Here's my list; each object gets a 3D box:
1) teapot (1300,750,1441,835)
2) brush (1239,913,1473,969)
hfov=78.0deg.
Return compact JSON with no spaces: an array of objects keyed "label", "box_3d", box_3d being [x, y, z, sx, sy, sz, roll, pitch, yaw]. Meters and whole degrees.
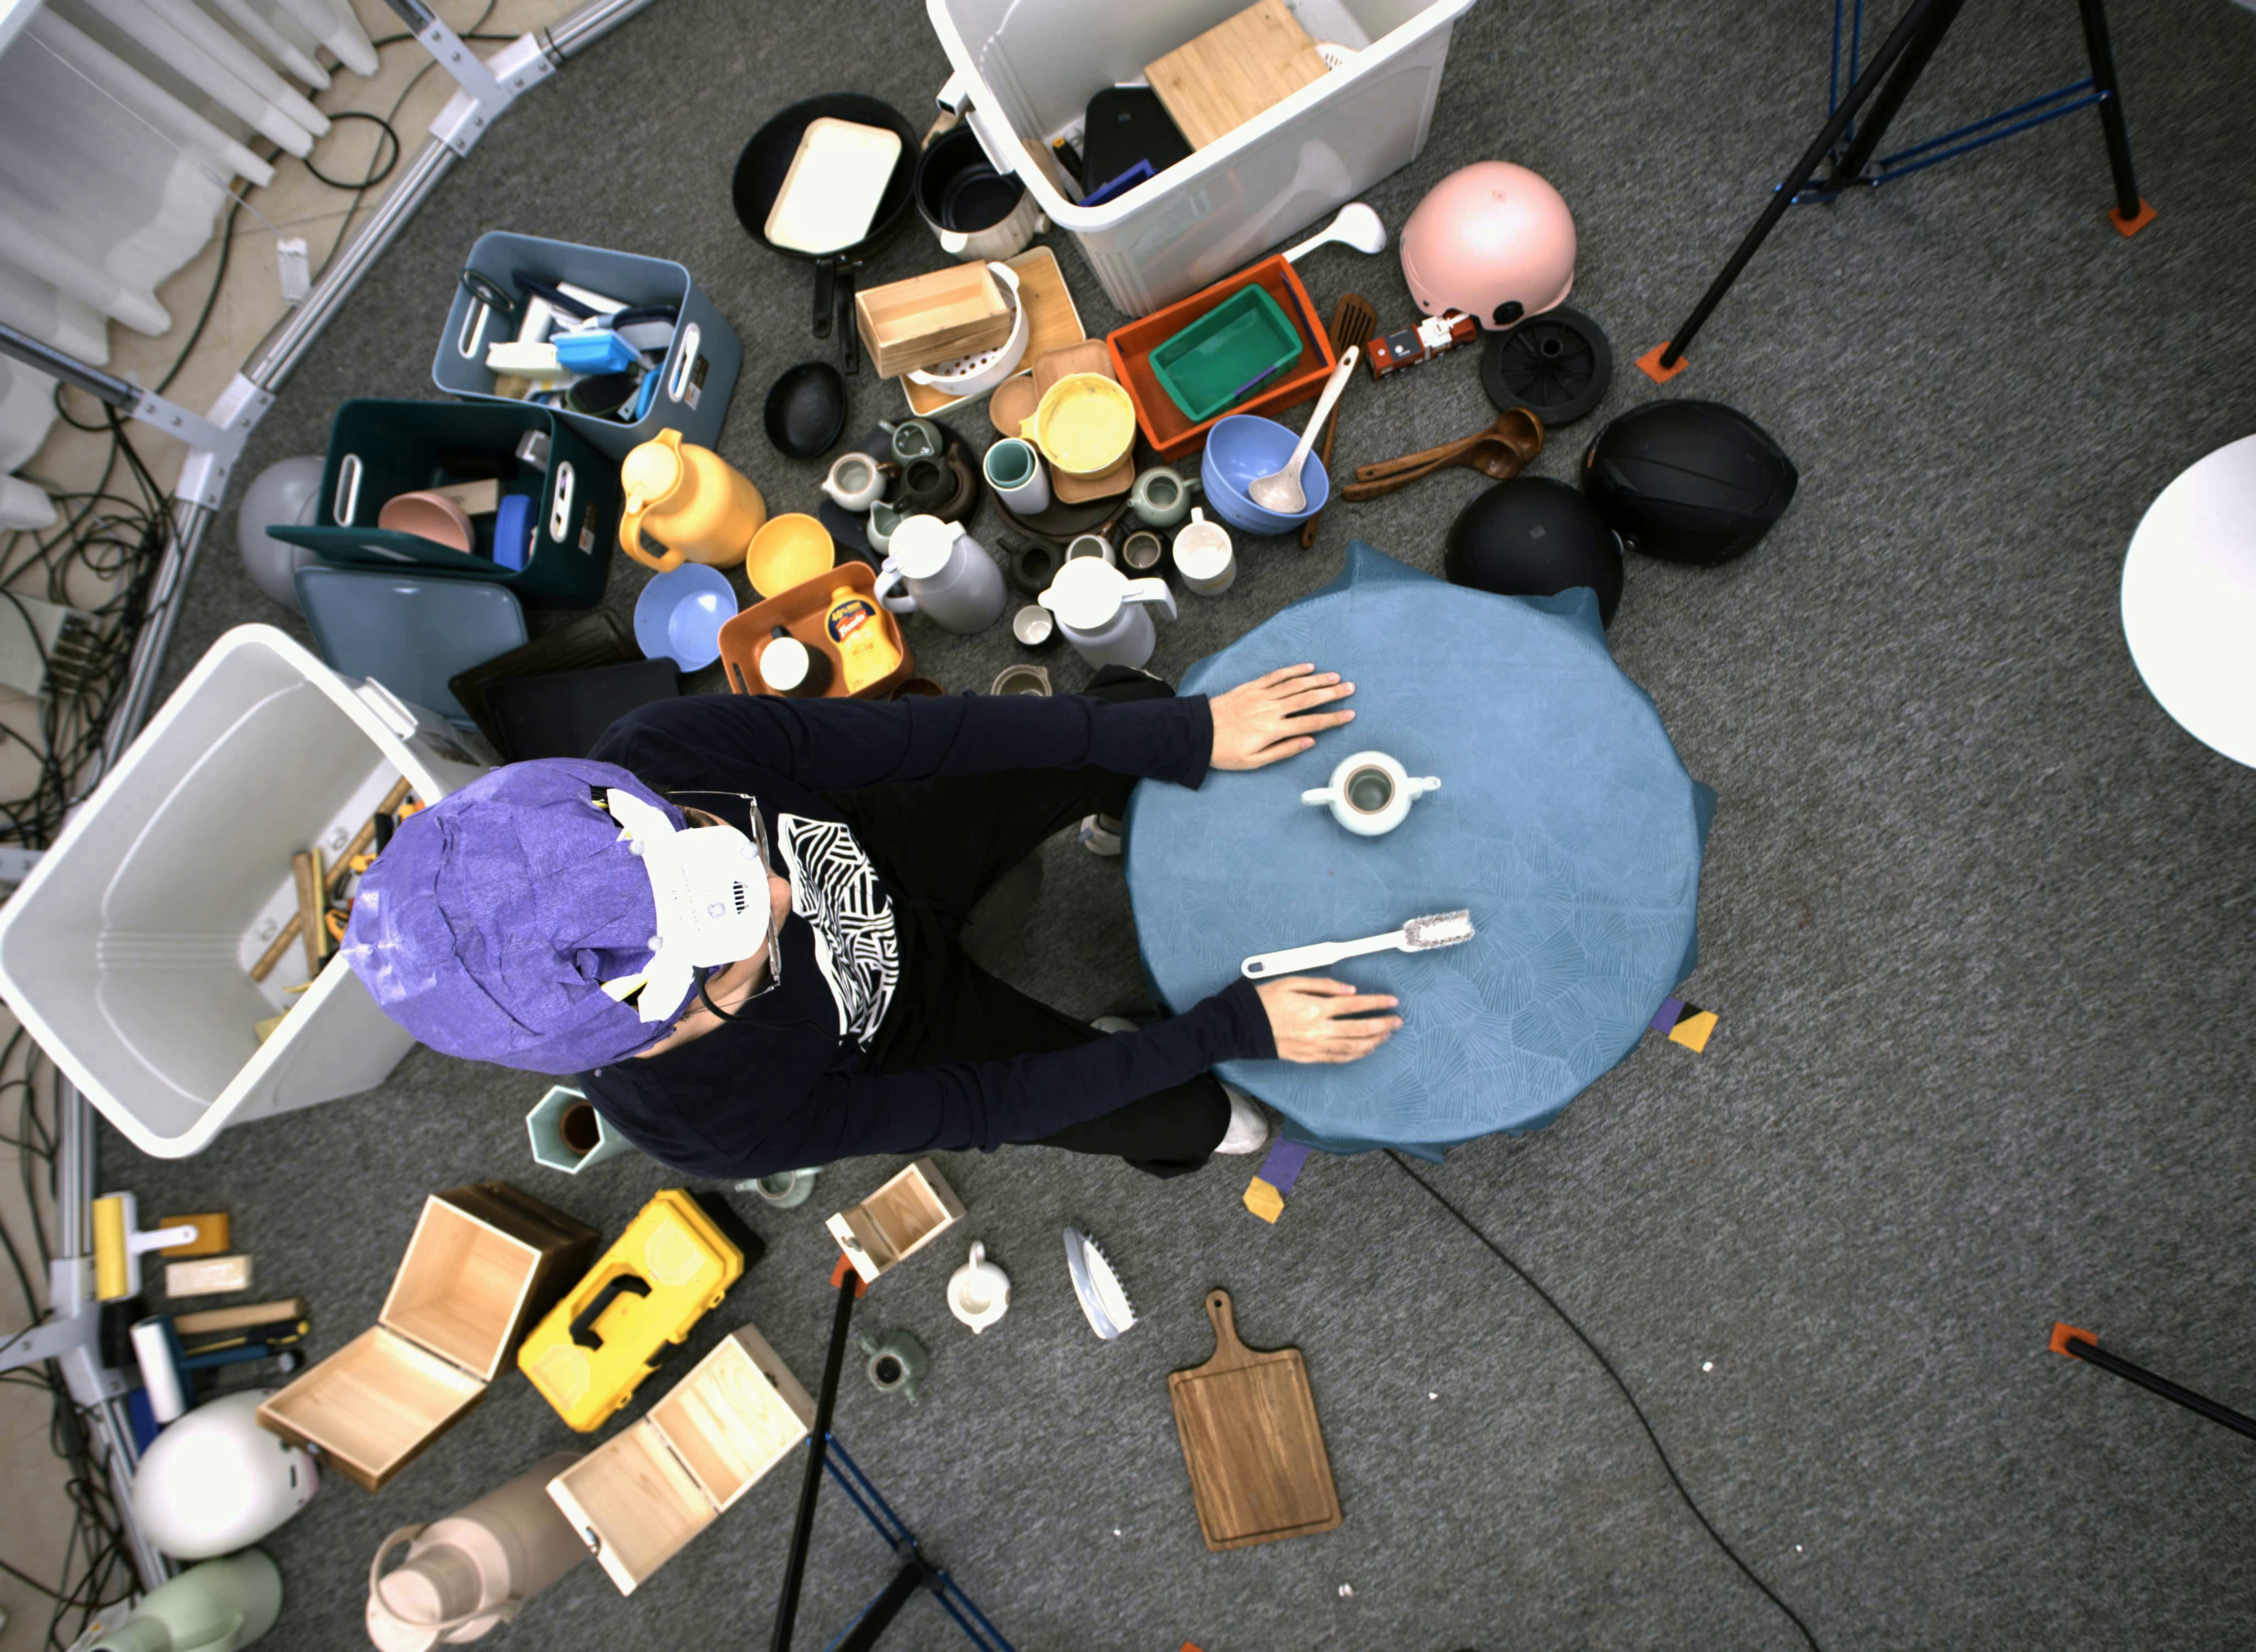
[{"label":"teapot","box_3d":[0.251,-0.036,1.432,0.144,0.075,0.088,-3,87,9]},{"label":"brush","box_3d":[0.234,0.121,1.438,0.245,0.050,0.034,-9,88,9]}]
